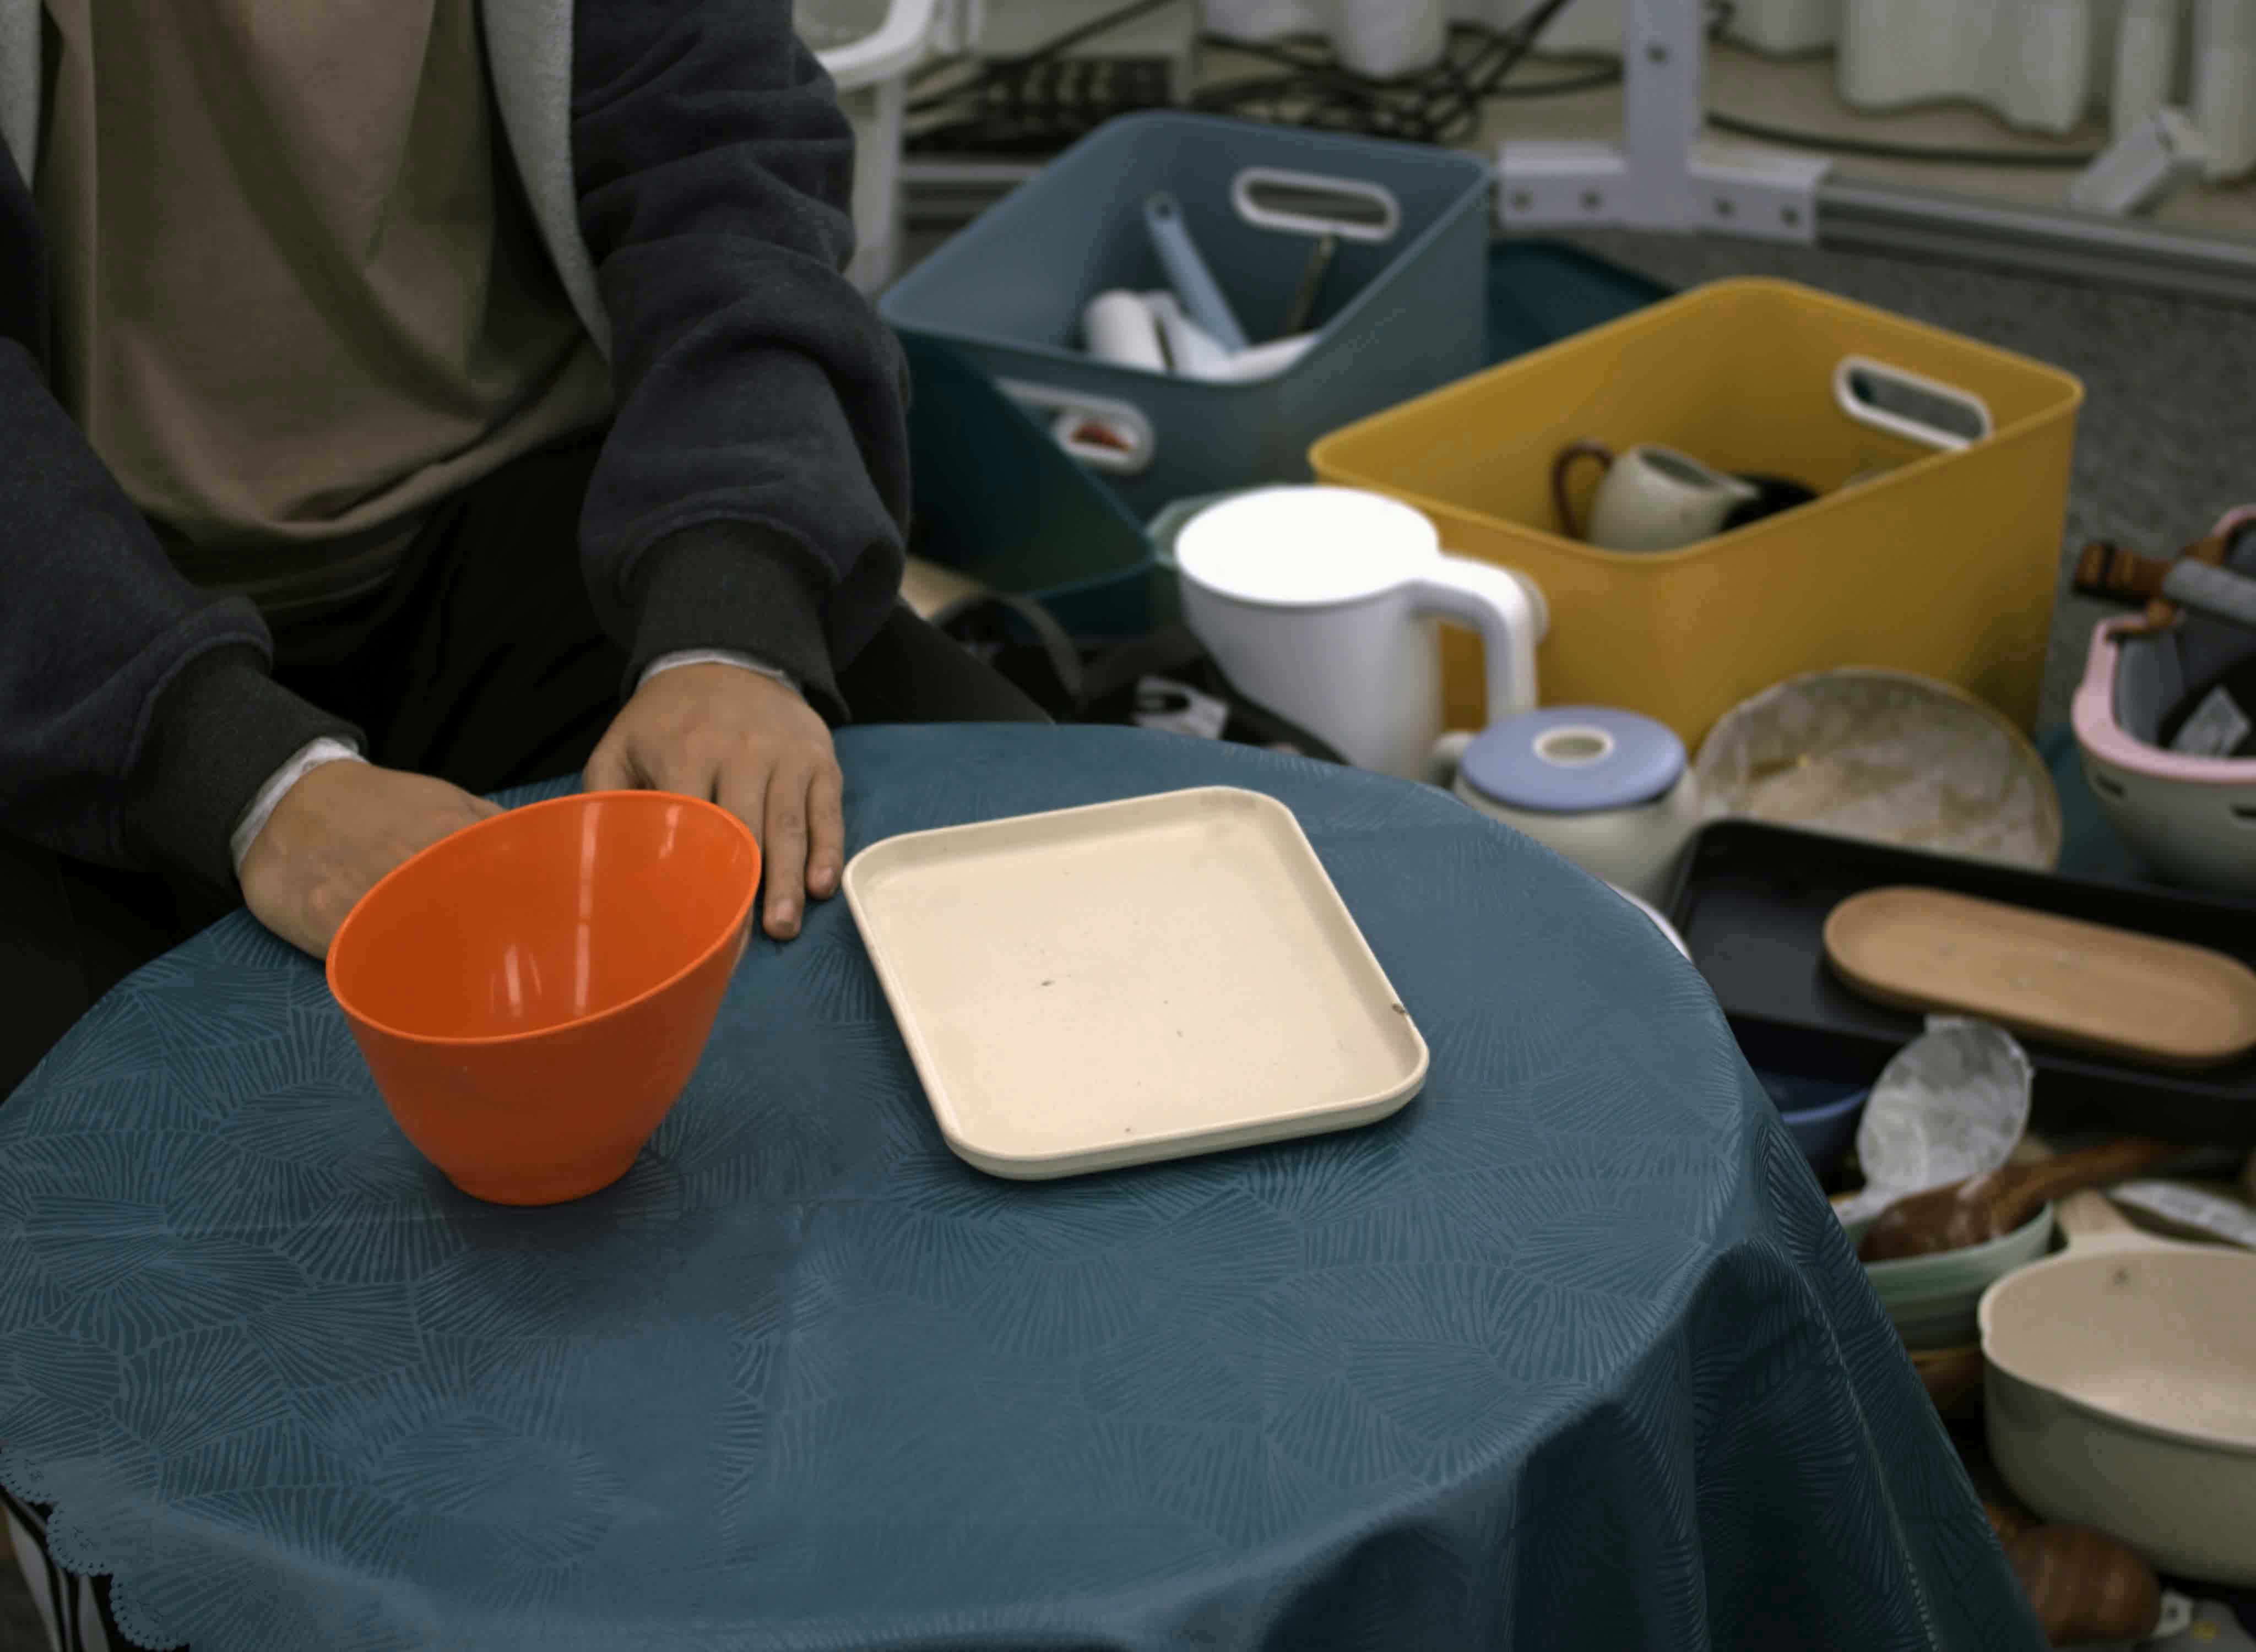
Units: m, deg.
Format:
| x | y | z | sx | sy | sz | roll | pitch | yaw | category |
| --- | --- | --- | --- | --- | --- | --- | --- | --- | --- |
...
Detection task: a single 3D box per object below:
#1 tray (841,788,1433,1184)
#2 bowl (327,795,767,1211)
| x | y | z | sx | sy | sz | roll | pitch | yaw | category |
| --- | --- | --- | --- | --- | --- | --- | --- | --- | --- |
| 0.000 | 0.055 | 1.972 | 0.171 | 0.017 | 0.242 | -9 | 28 | -11 | tray |
| -0.191 | 0.066 | 1.880 | 0.147 | 0.103 | 0.150 | -1 | 28 | 1 | bowl |
